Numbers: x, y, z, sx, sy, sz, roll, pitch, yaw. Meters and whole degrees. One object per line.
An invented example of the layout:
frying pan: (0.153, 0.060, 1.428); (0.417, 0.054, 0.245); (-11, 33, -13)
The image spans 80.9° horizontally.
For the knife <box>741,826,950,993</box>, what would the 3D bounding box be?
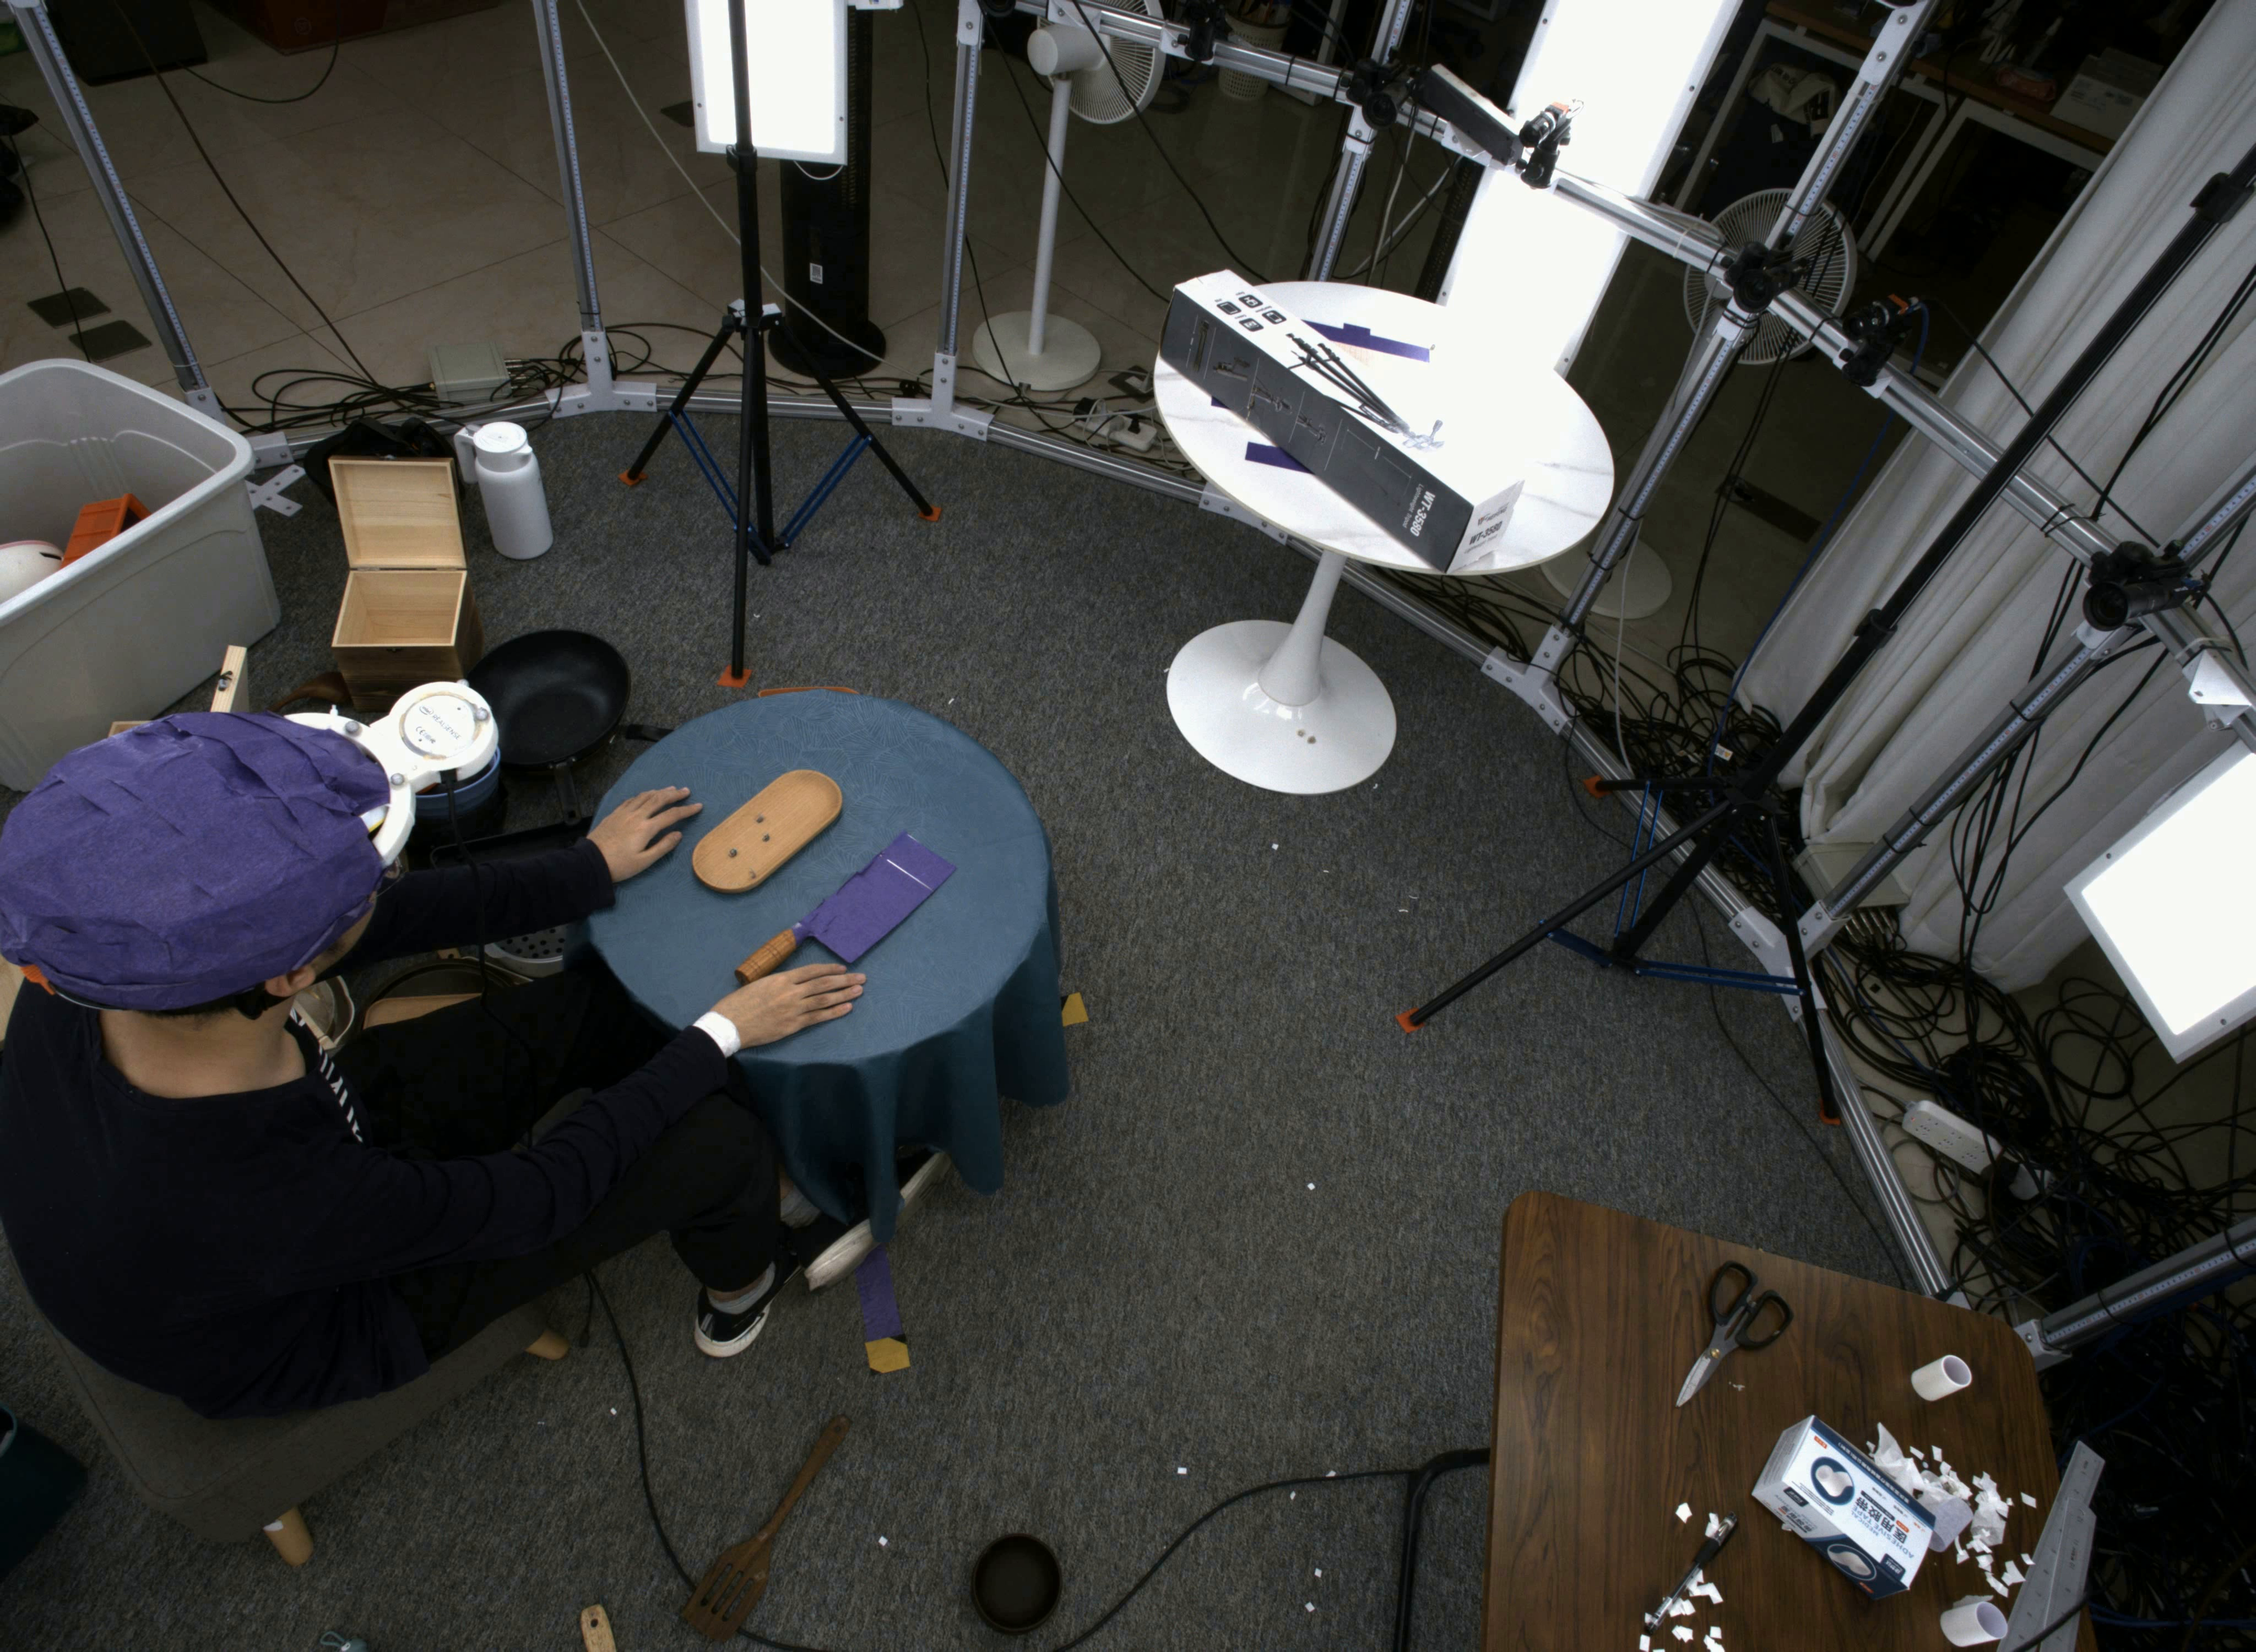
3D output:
knife: (-0.350, 0.113, 1.653); (0.102, 0.033, 0.315); (34, 53, 12)

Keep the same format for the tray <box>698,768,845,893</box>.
tray: (-0.469, 0.003, 1.711); (0.100, 0.021, 0.231); (34, 52, 11)
